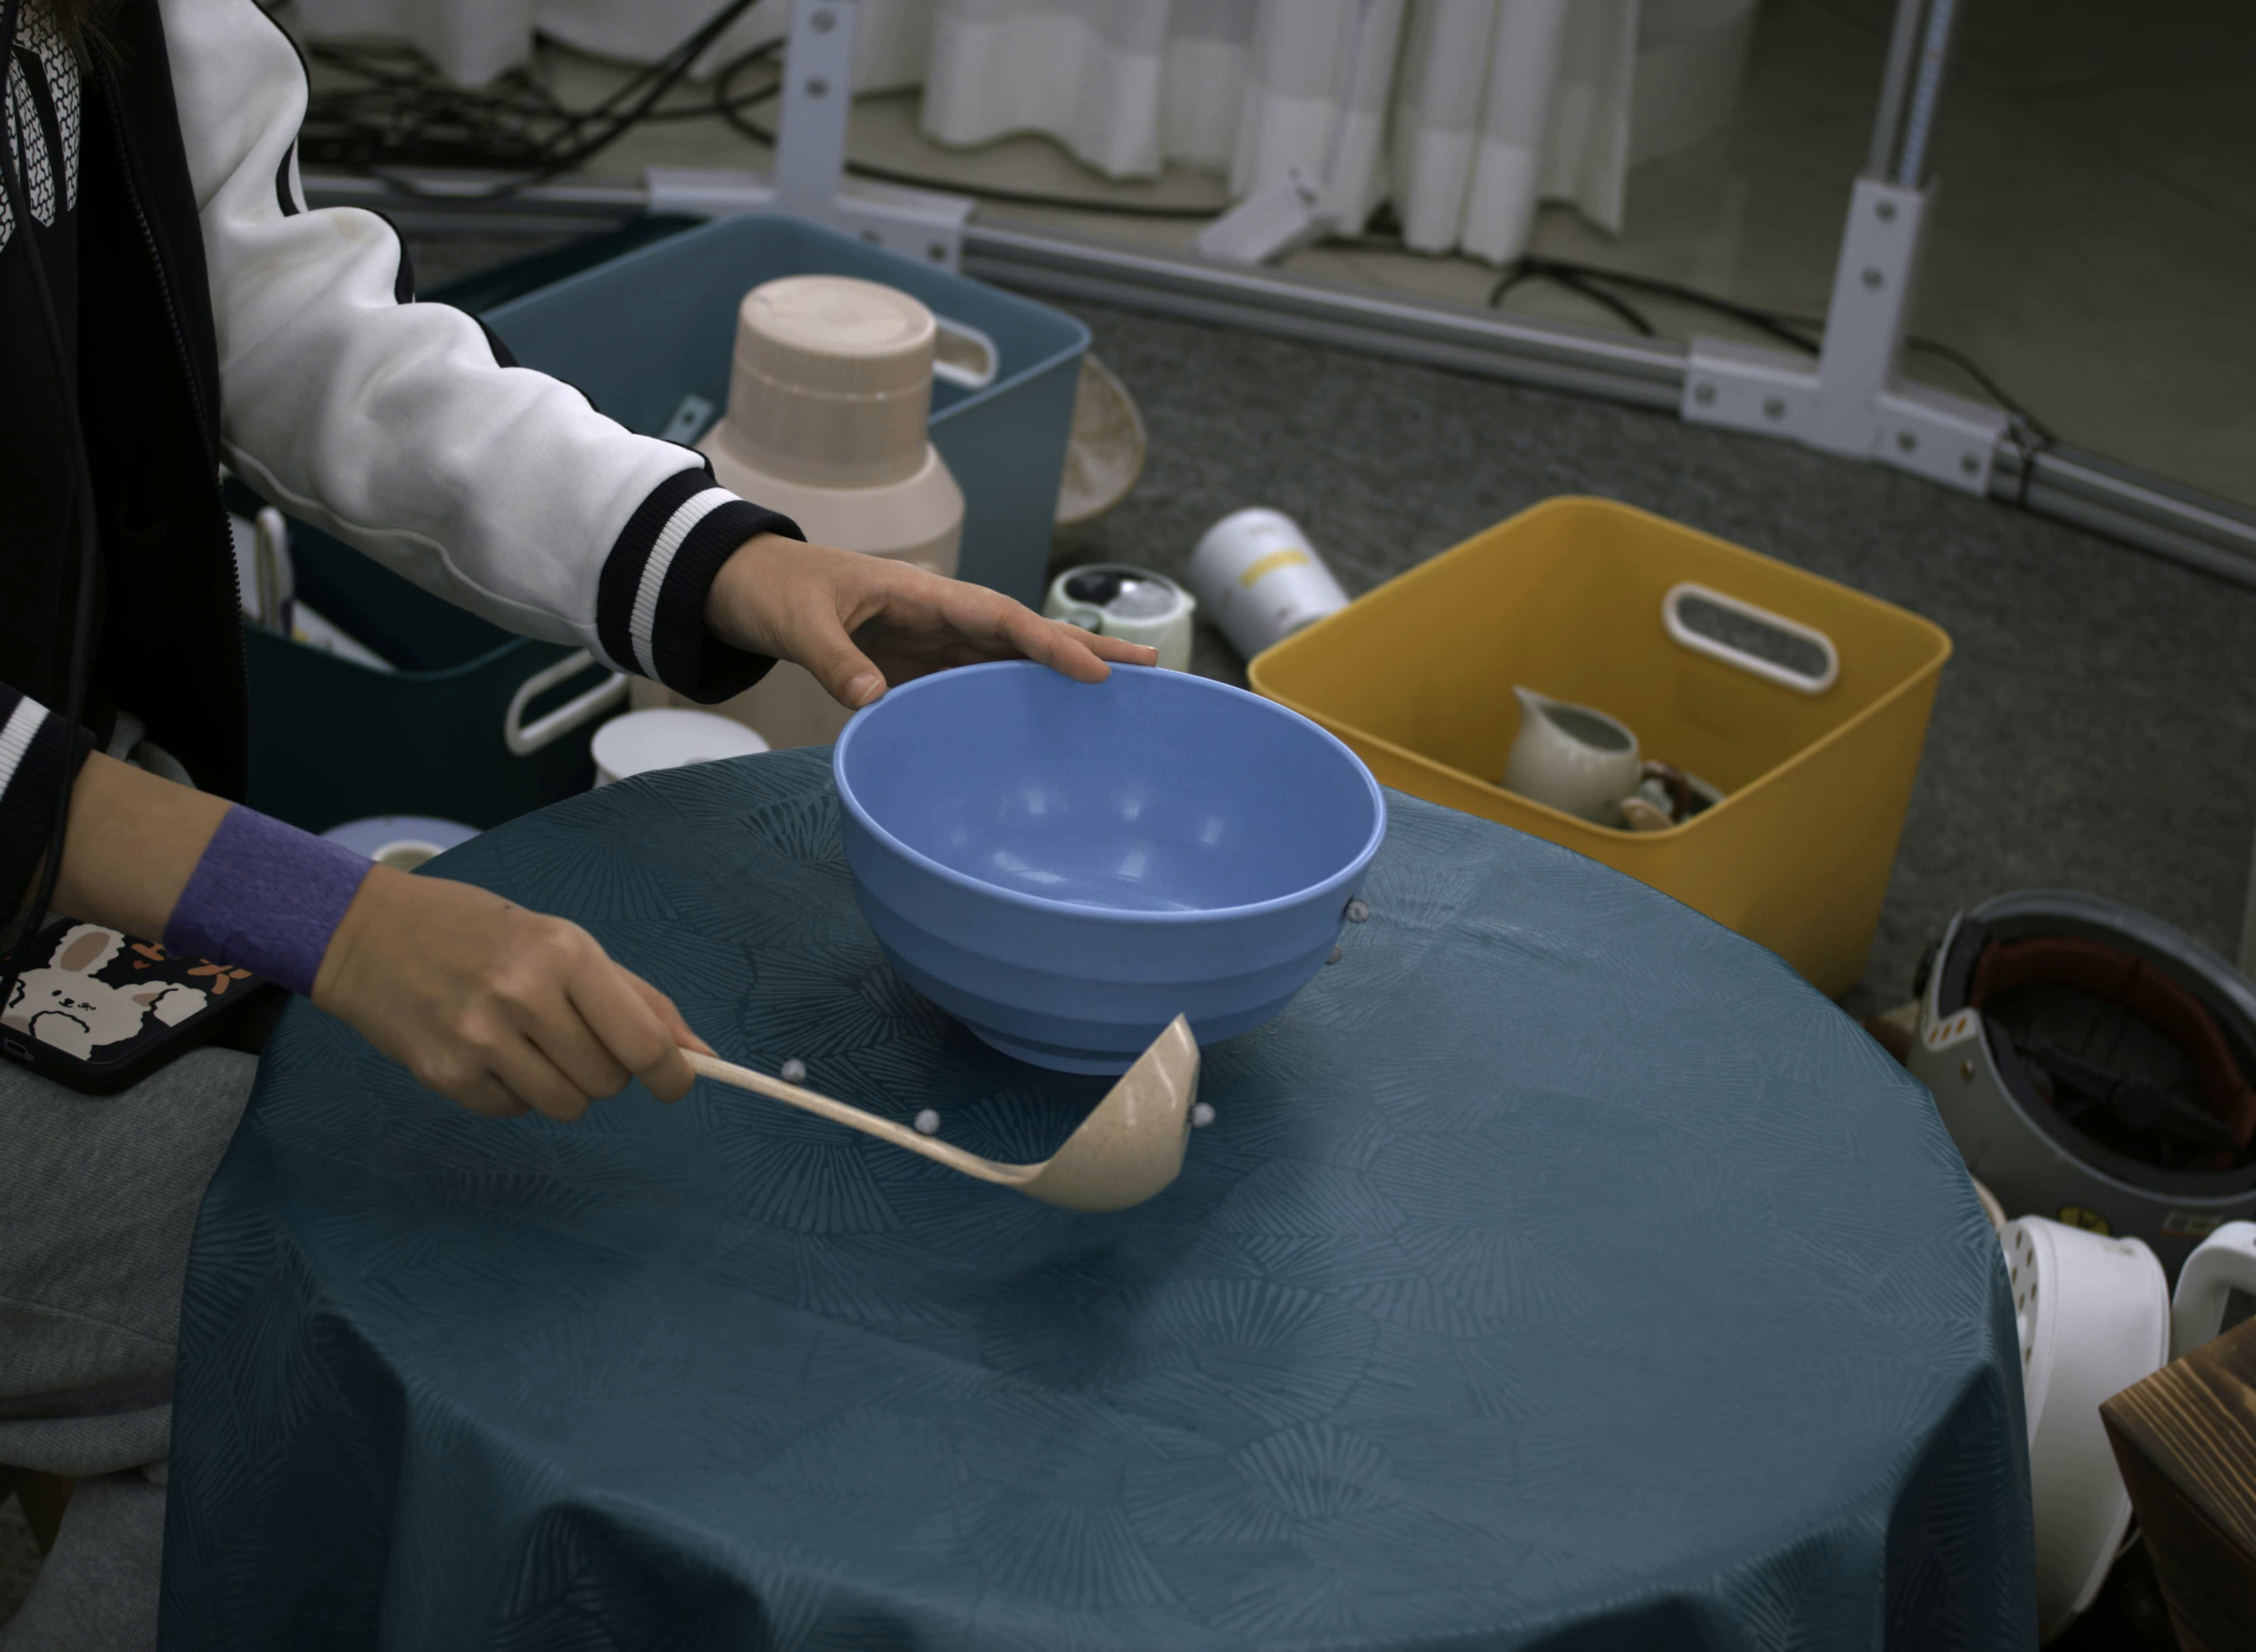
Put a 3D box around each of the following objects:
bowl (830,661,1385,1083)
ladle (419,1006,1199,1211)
[{"bbox_3d":[-0.011,0.028,1.890,0.196,0.095,0.198,4,28,-3],"label":"bowl"},{"bbox_3d":[-0.102,0.063,1.737,0.254,0.073,0.072,16,5,4],"label":"ladle"}]
